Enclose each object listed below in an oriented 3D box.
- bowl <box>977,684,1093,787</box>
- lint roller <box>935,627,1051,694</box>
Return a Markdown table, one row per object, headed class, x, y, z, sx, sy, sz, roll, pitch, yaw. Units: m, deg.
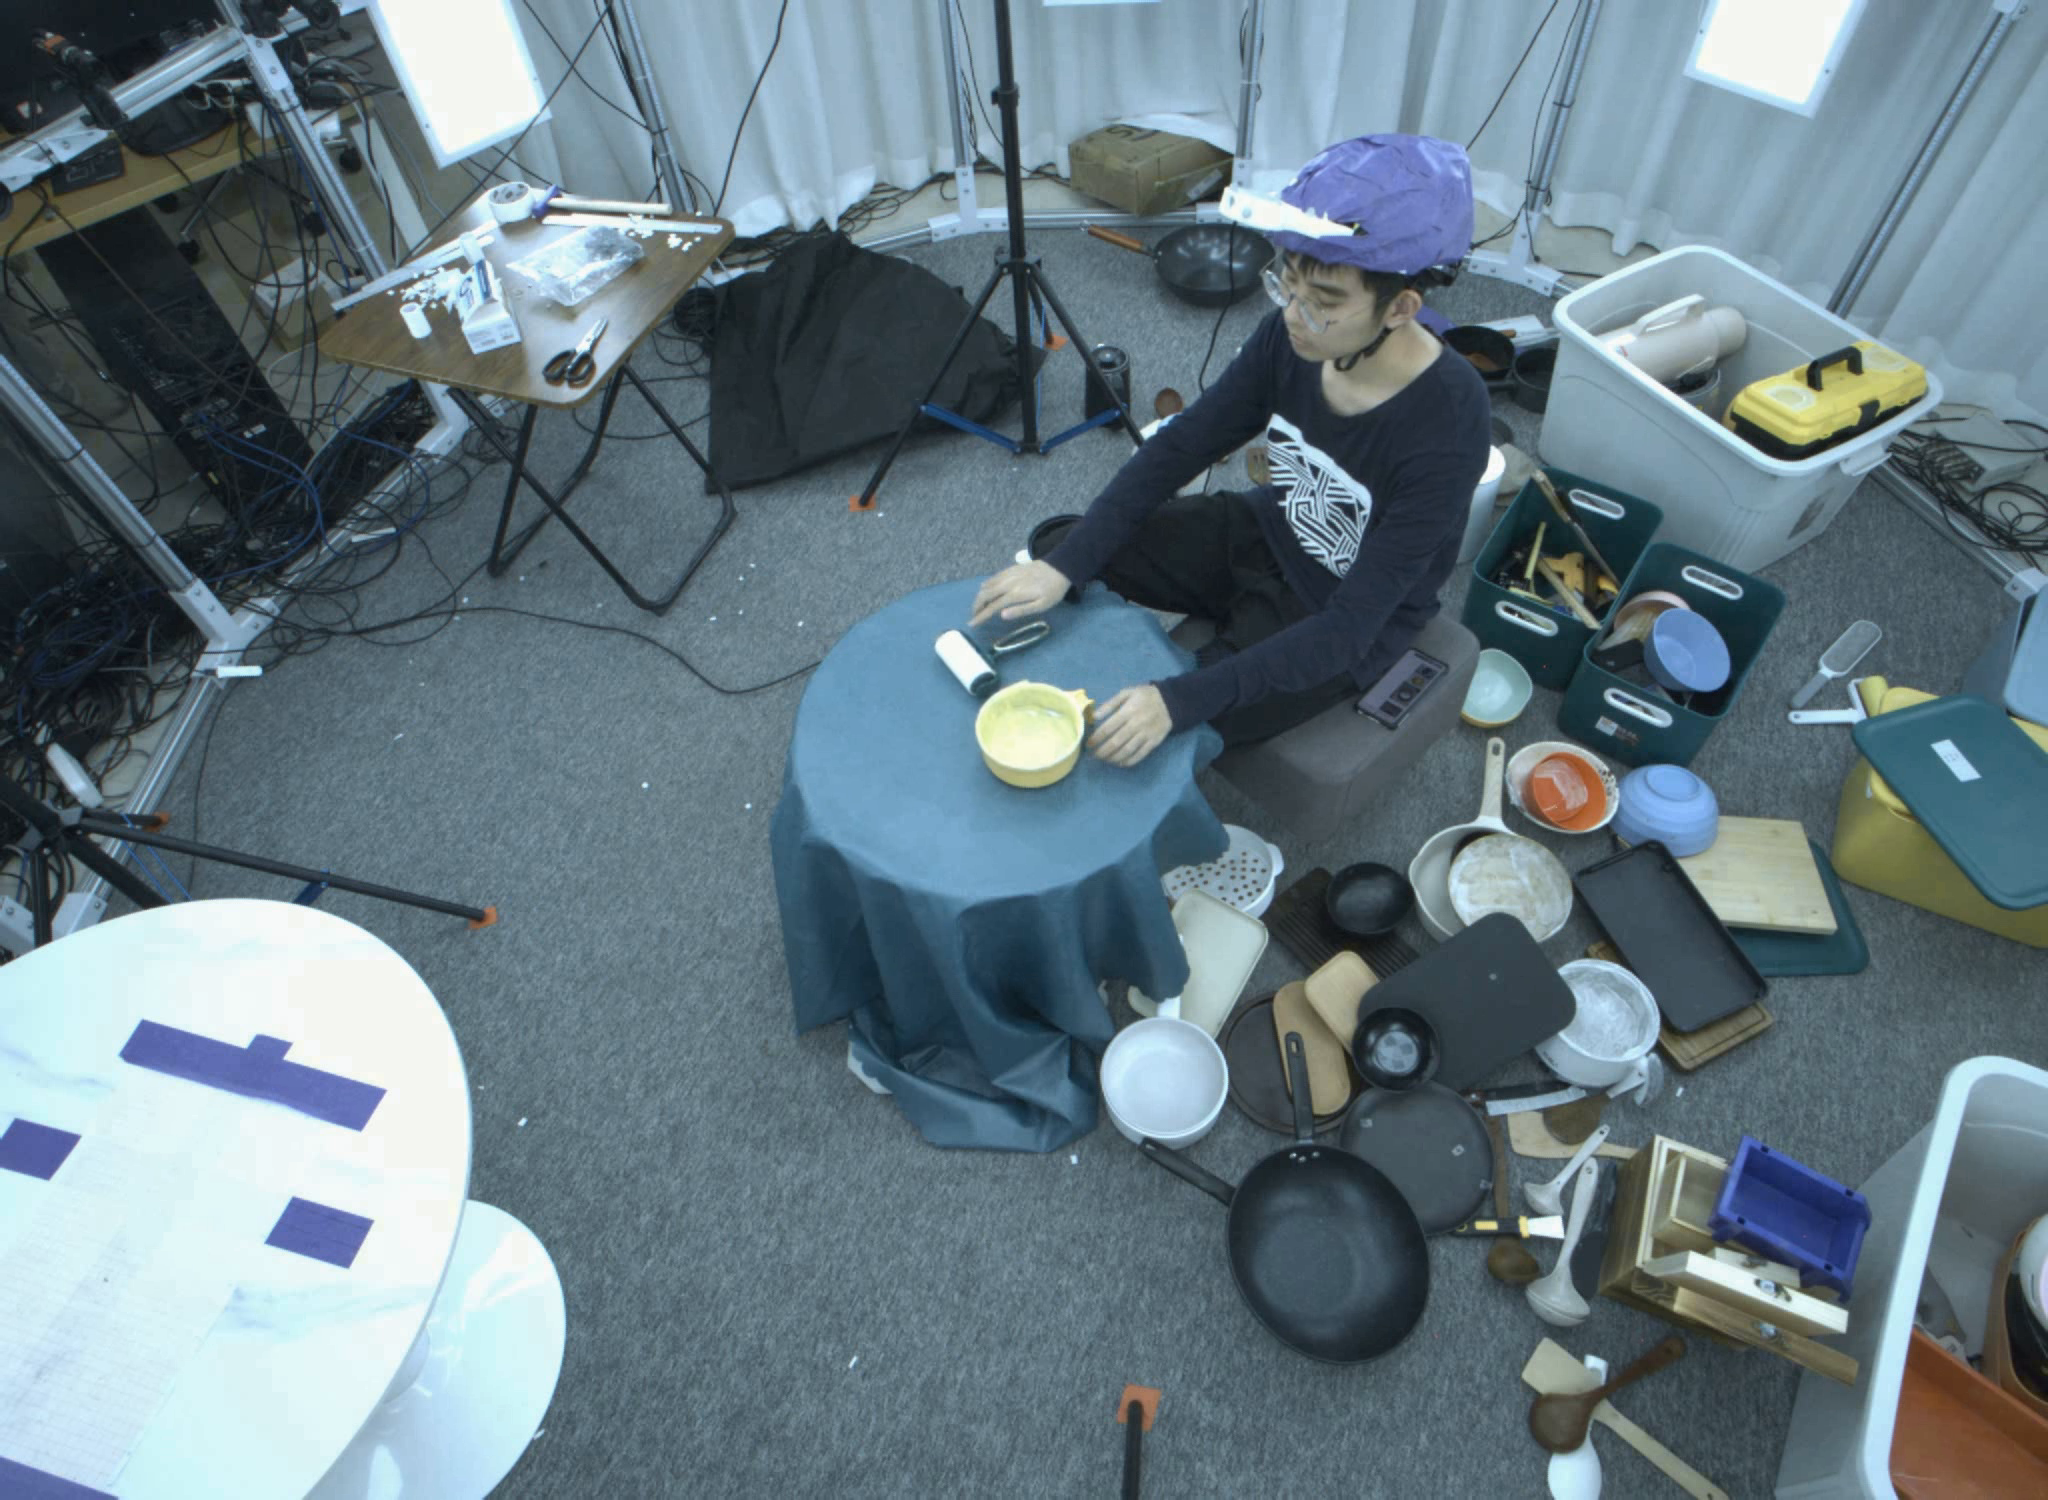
| class | x | y | z | sx | sy | sz | roll | pitch | yaw |
| --- | --- | --- | --- | --- | --- | --- | --- | --- | --- |
| bowl | 0.023 | -0.022 | 1.769 | 0.180 | 0.075 | 0.150 | -35 | 58 | -21 |
| lint roller | -0.034 | -0.162 | 1.888 | 0.182 | 0.049 | 0.132 | -27 | 57 | -22 |
